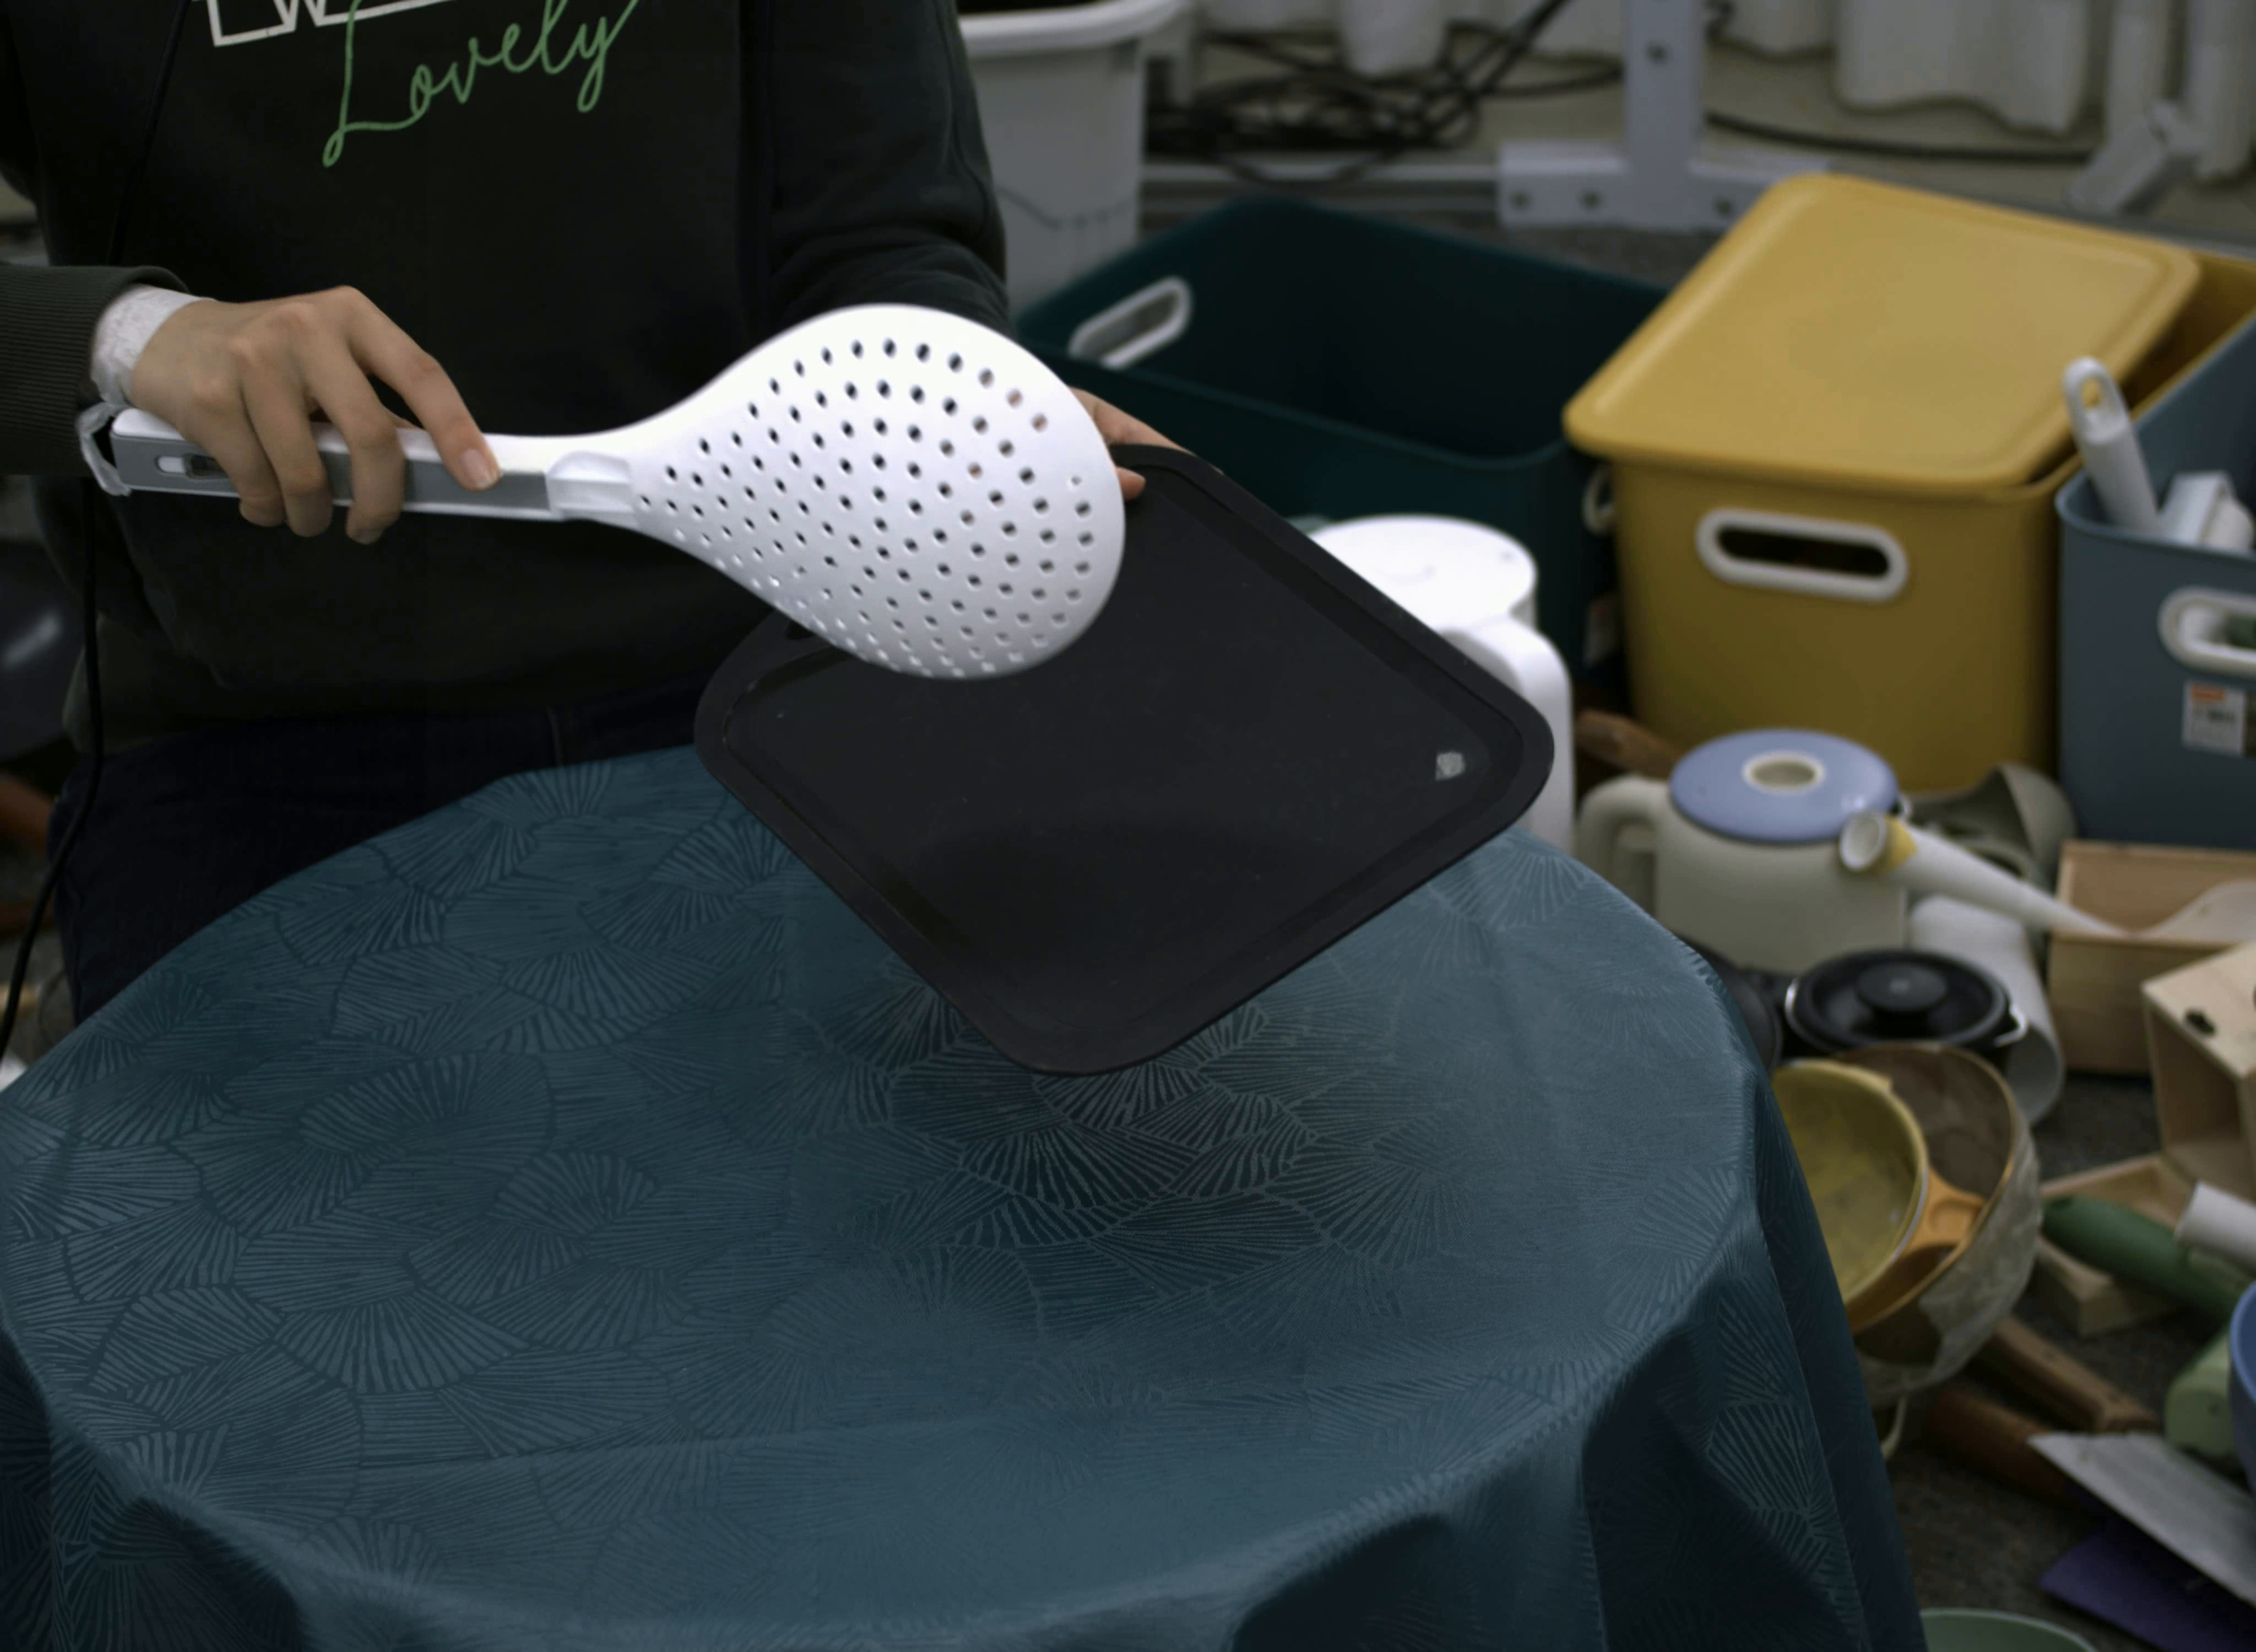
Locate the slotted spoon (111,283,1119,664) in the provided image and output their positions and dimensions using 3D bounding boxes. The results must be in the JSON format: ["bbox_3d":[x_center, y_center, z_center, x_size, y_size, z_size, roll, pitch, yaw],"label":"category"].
[{"bbox_3d":[-0.173,-0.115,1.838,0.347,0.134,0.046,6,31,21],"label":"slotted spoon"}]

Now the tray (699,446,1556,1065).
[{"bbox_3d":[-0.011,-0.034,1.882,0.212,0.009,0.327,-31,37,-14],"label":"tray"}]
